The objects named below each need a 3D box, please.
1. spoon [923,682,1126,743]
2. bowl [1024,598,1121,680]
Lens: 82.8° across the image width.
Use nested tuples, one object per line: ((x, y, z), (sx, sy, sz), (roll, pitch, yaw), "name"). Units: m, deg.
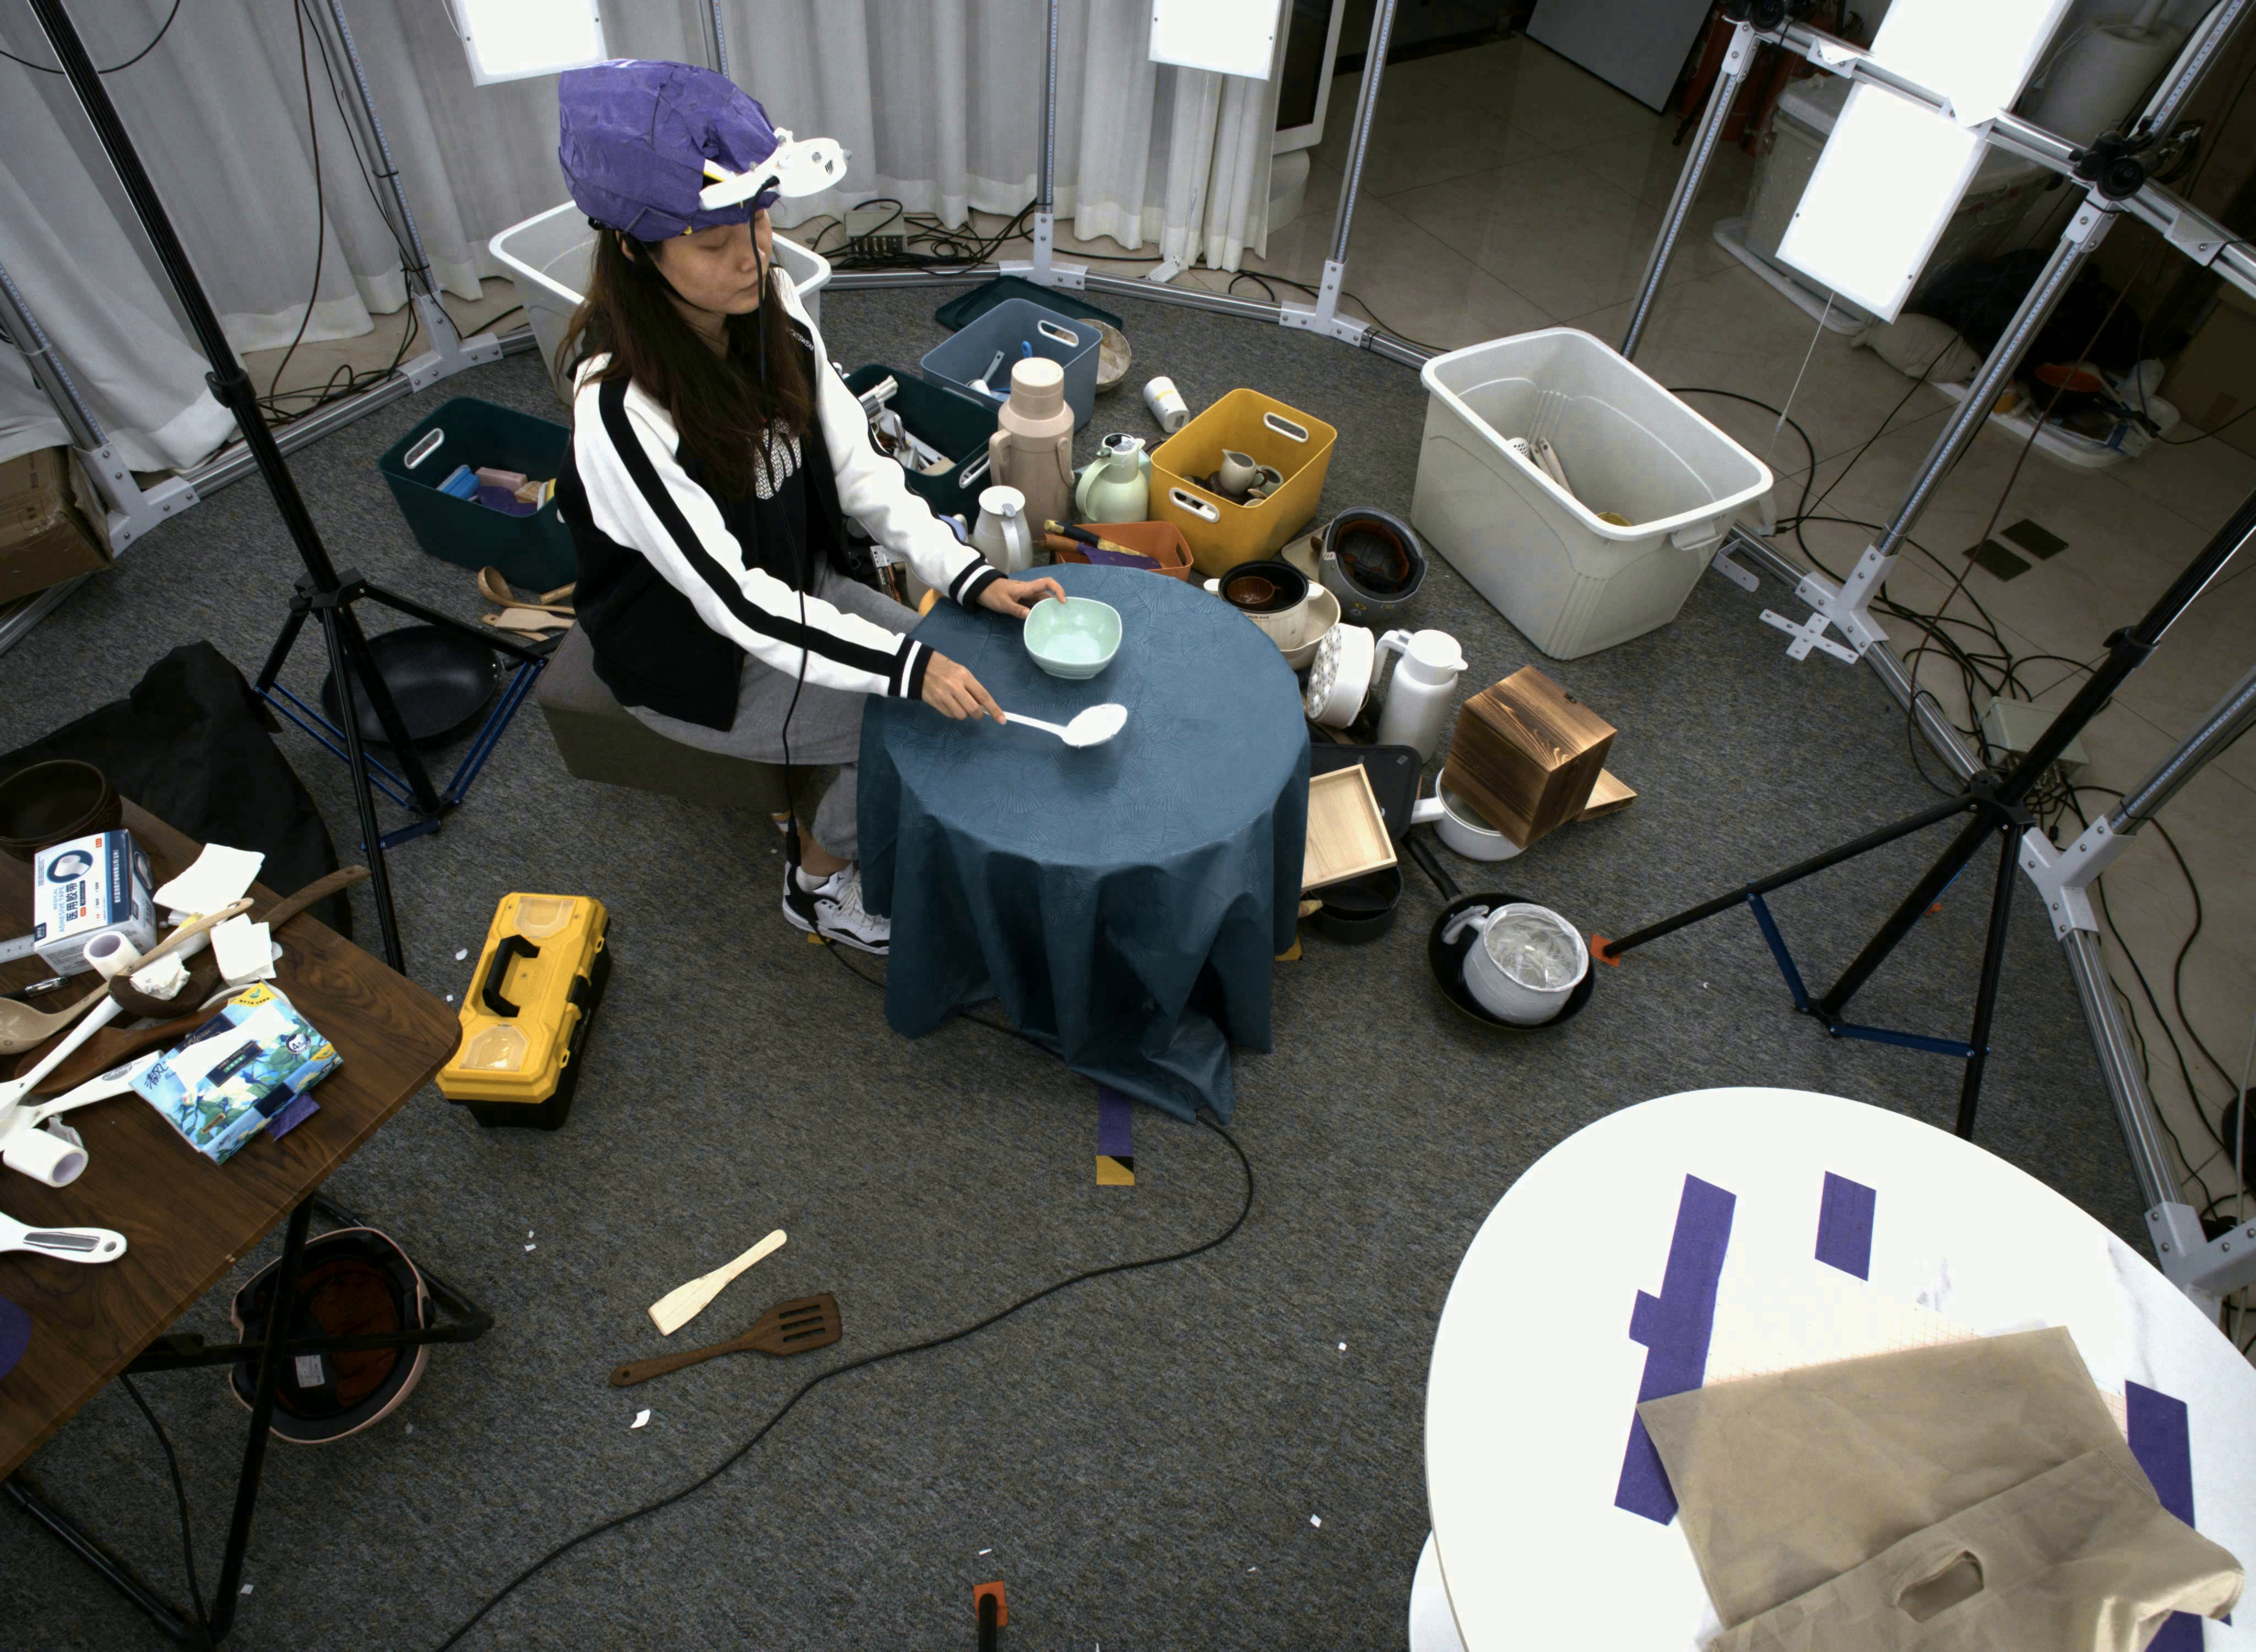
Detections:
((-0.140, -0.172, 1.733), (0.278, 0.058, 0.102), (18, 35, 5), "spoon")
((-0.081, -0.262, 1.858), (0.151, 0.057, 0.155), (2, 50, -3), "bowl")
